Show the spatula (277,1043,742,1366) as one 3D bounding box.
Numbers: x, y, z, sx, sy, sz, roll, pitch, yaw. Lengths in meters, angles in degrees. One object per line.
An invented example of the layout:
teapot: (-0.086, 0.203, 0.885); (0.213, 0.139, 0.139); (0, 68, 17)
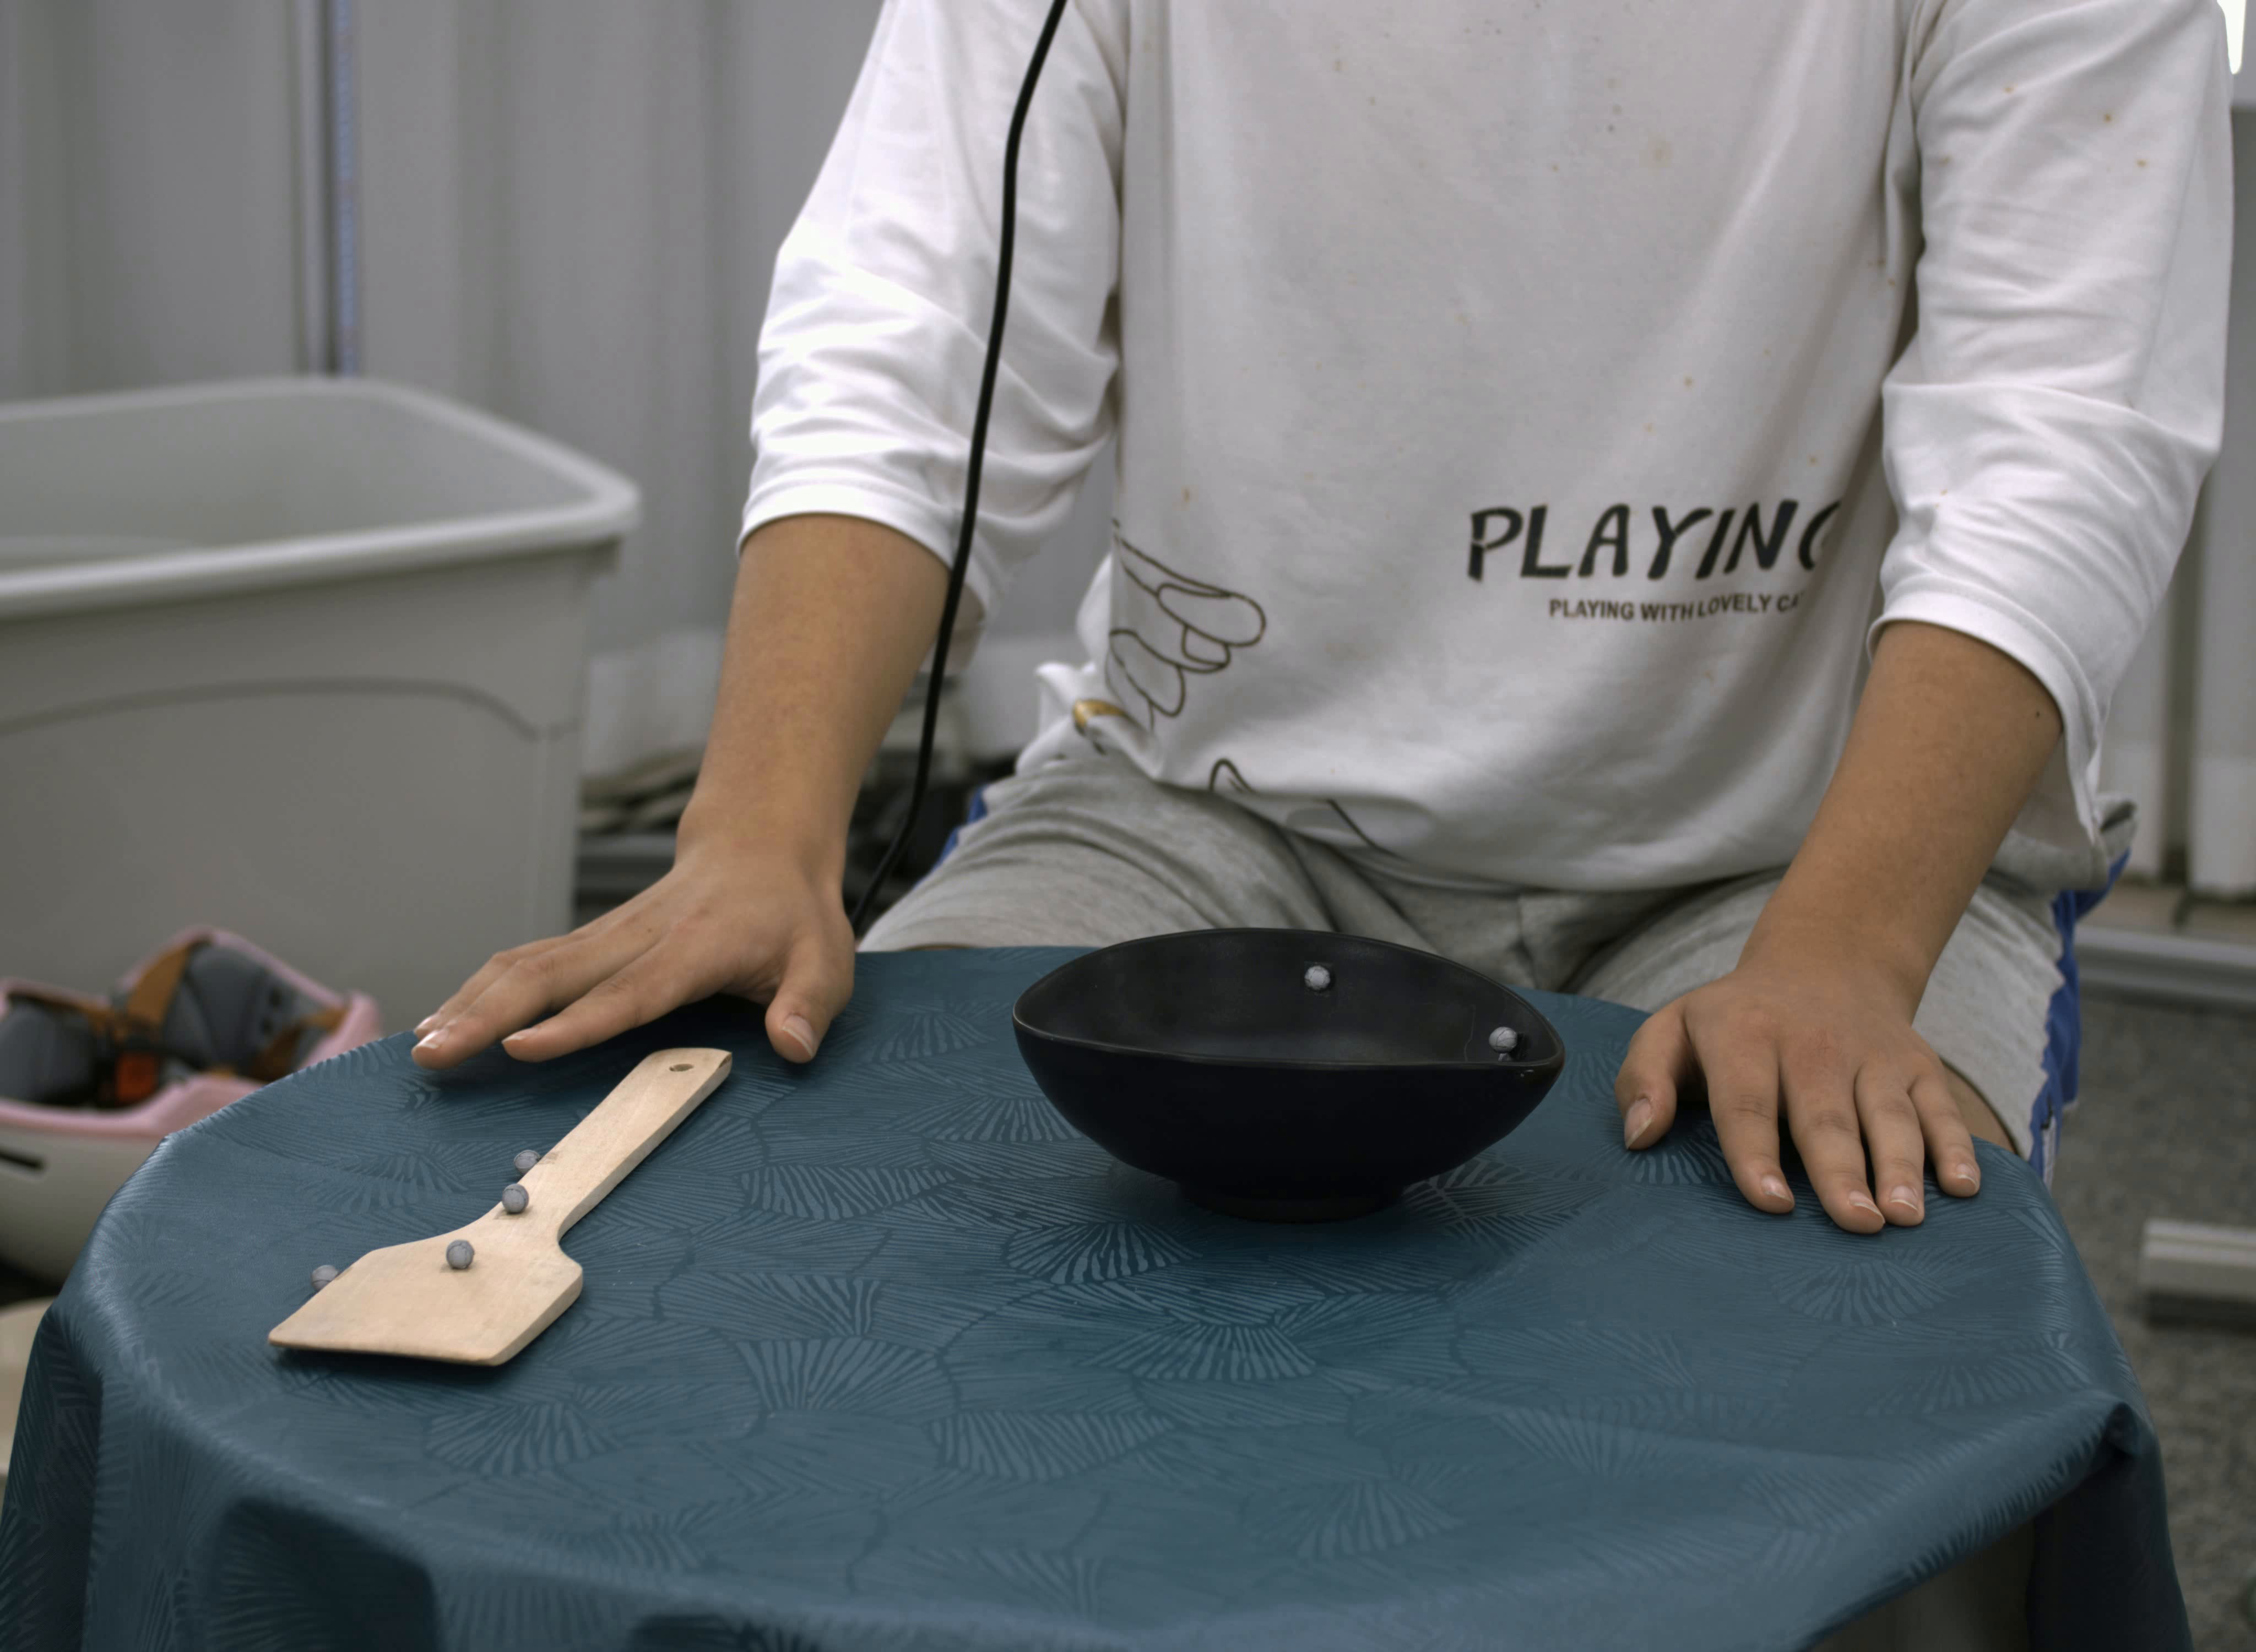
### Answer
spatula: (-0.174, 0.112, 1.605); (0.072, 0.011, 0.292); (3, 16, 13)

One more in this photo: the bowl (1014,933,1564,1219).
bowl: (0.049, 0.081, 1.627); (0.170, 0.067, 0.136); (3, 15, 0)
